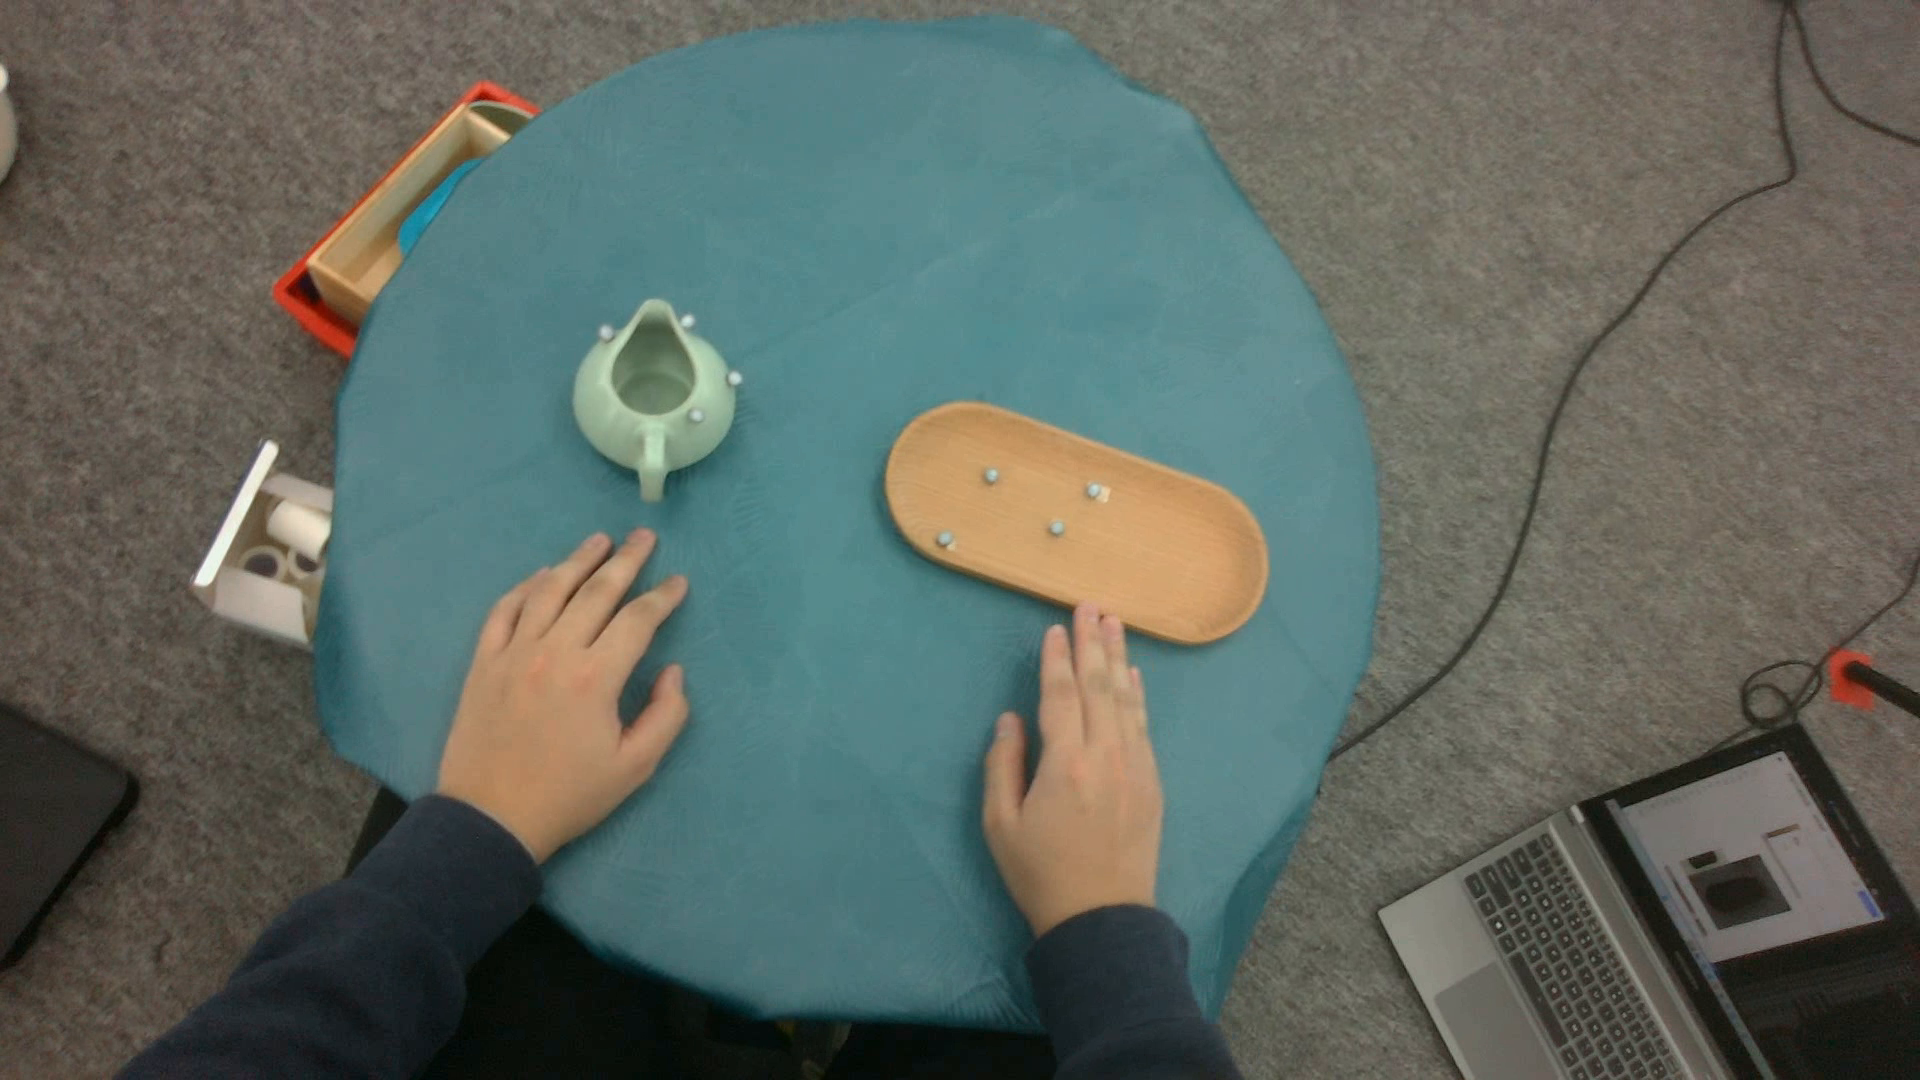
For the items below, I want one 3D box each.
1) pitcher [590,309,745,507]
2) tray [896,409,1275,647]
[{"bbox_3d":[-0.162,-0.068,0.764,0.086,0.060,0.108,-2,74,-10],"label":"pitcher"},{"bbox_3d":[0.074,-0.007,0.806,0.231,0.020,0.102,19,70,-5],"label":"tray"}]
